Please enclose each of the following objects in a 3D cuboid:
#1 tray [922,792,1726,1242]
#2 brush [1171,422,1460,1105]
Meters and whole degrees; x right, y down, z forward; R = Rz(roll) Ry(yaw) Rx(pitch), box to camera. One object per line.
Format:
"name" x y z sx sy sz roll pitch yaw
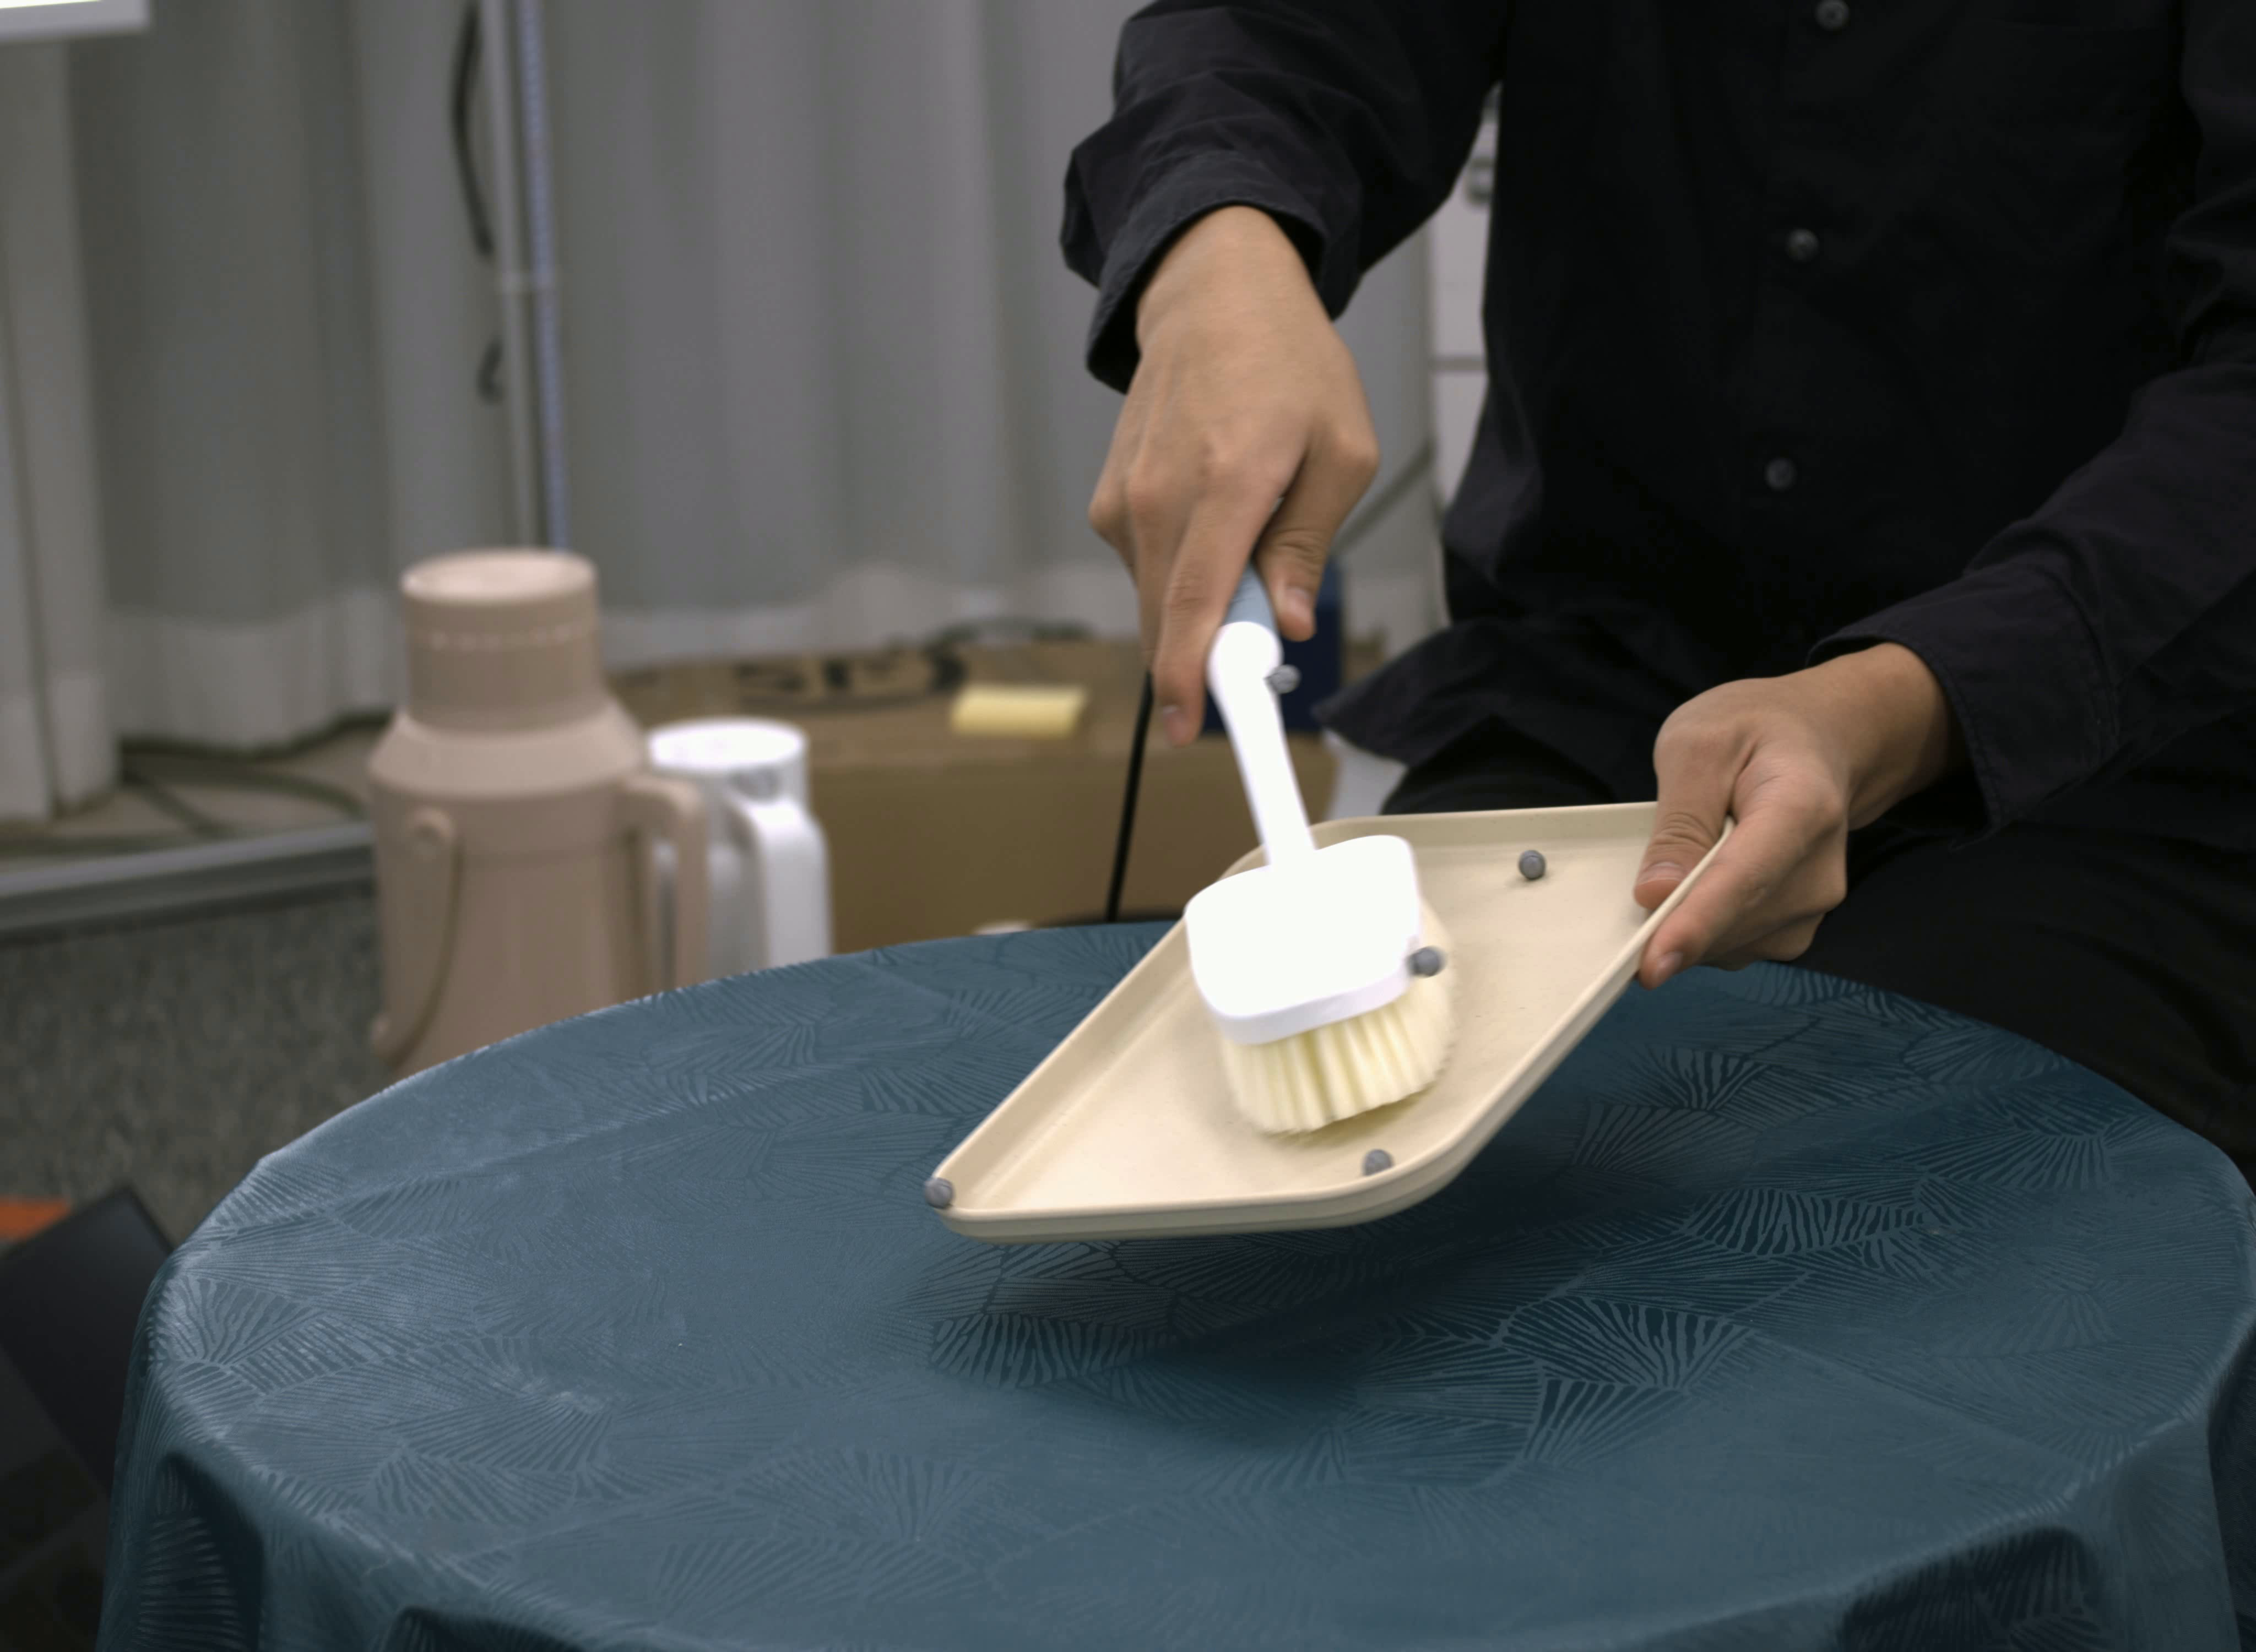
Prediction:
"tray" 0.060 0.055 1.505 0.174 0.017 0.236 -5 25 35
"brush" 0.052 -0.011 1.580 0.082 0.085 0.329 15 29 -14
